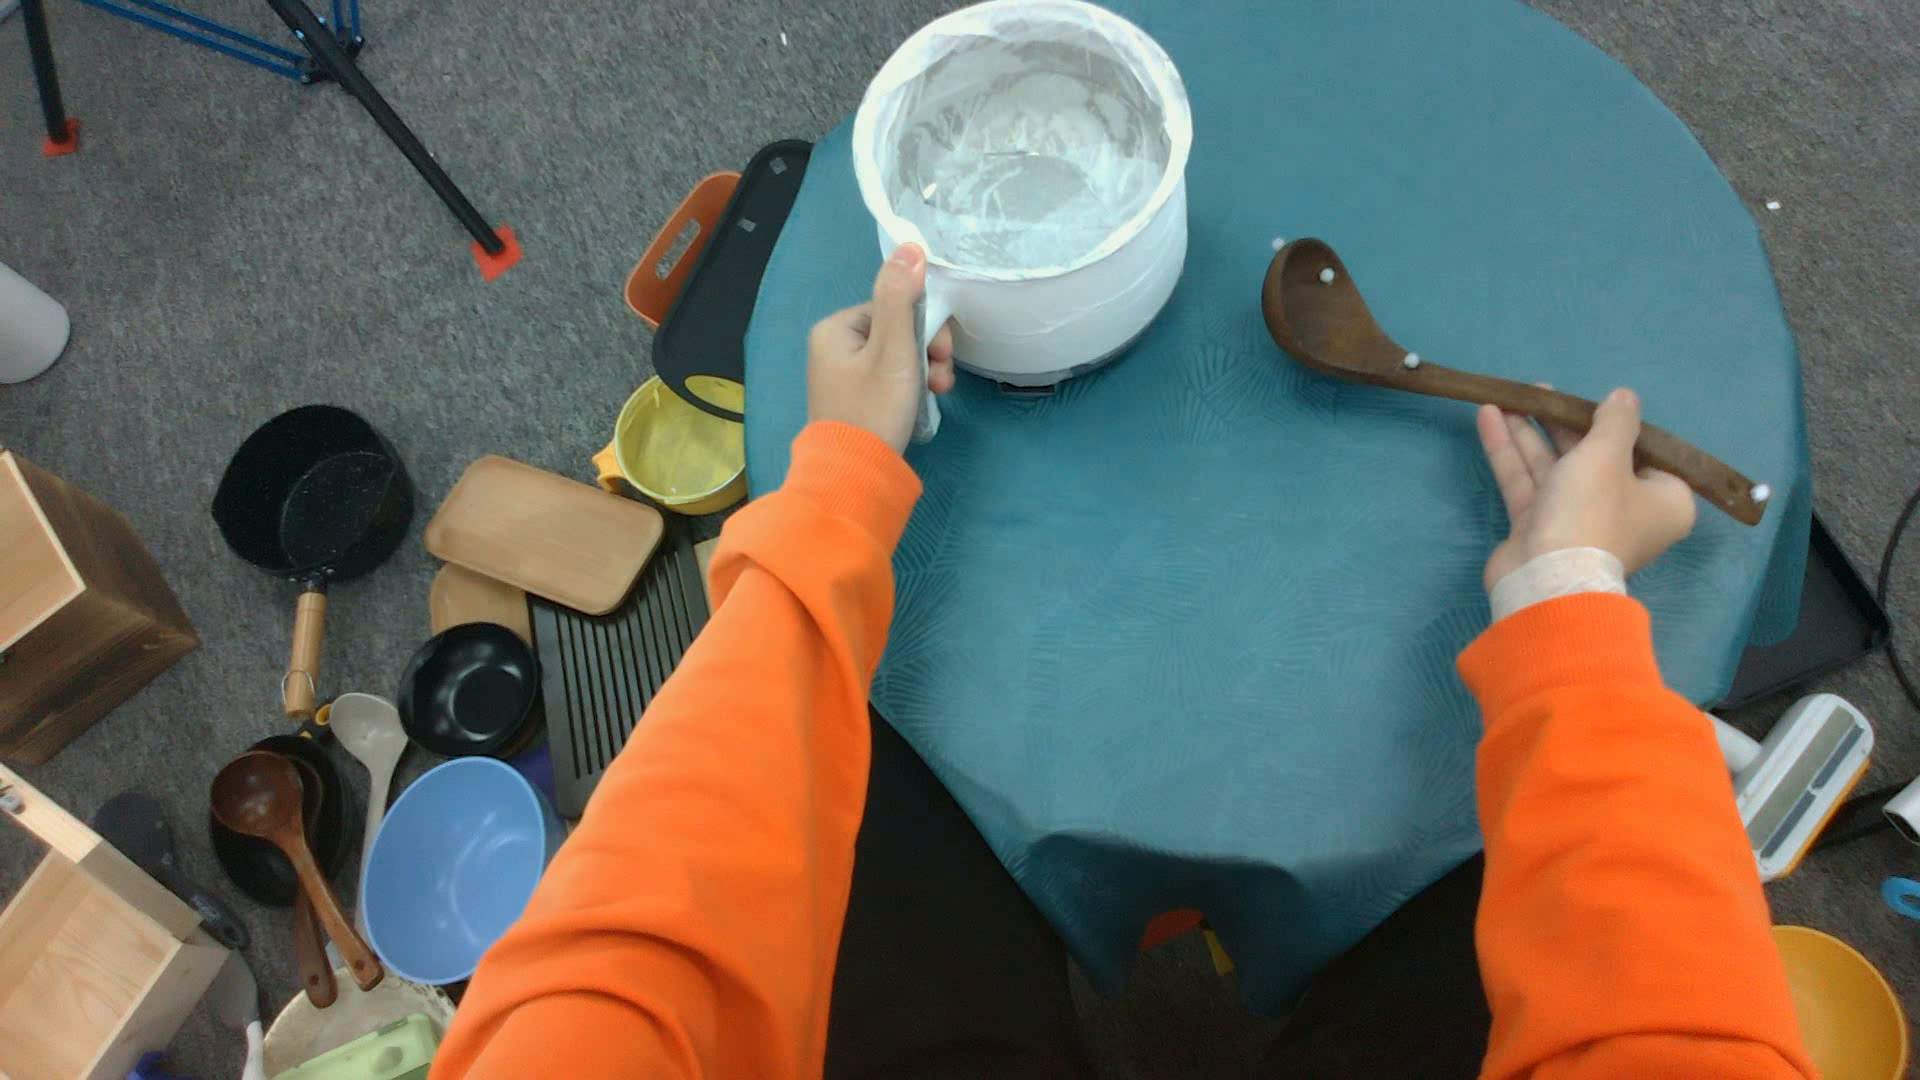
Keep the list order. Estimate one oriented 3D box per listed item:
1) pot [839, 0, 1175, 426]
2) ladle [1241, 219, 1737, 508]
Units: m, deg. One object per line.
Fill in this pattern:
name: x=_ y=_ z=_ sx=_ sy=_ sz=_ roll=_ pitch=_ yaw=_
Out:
pot: x=0.016 y=-0.176 z=0.769 sx=0.178 sy=0.136 sz=0.234 roll=29 pitch=74 yaw=17
ladle: x=0.278 y=-0.097 z=0.728 sx=0.274 sy=0.071 sz=0.076 roll=25 pitch=56 yaw=22
